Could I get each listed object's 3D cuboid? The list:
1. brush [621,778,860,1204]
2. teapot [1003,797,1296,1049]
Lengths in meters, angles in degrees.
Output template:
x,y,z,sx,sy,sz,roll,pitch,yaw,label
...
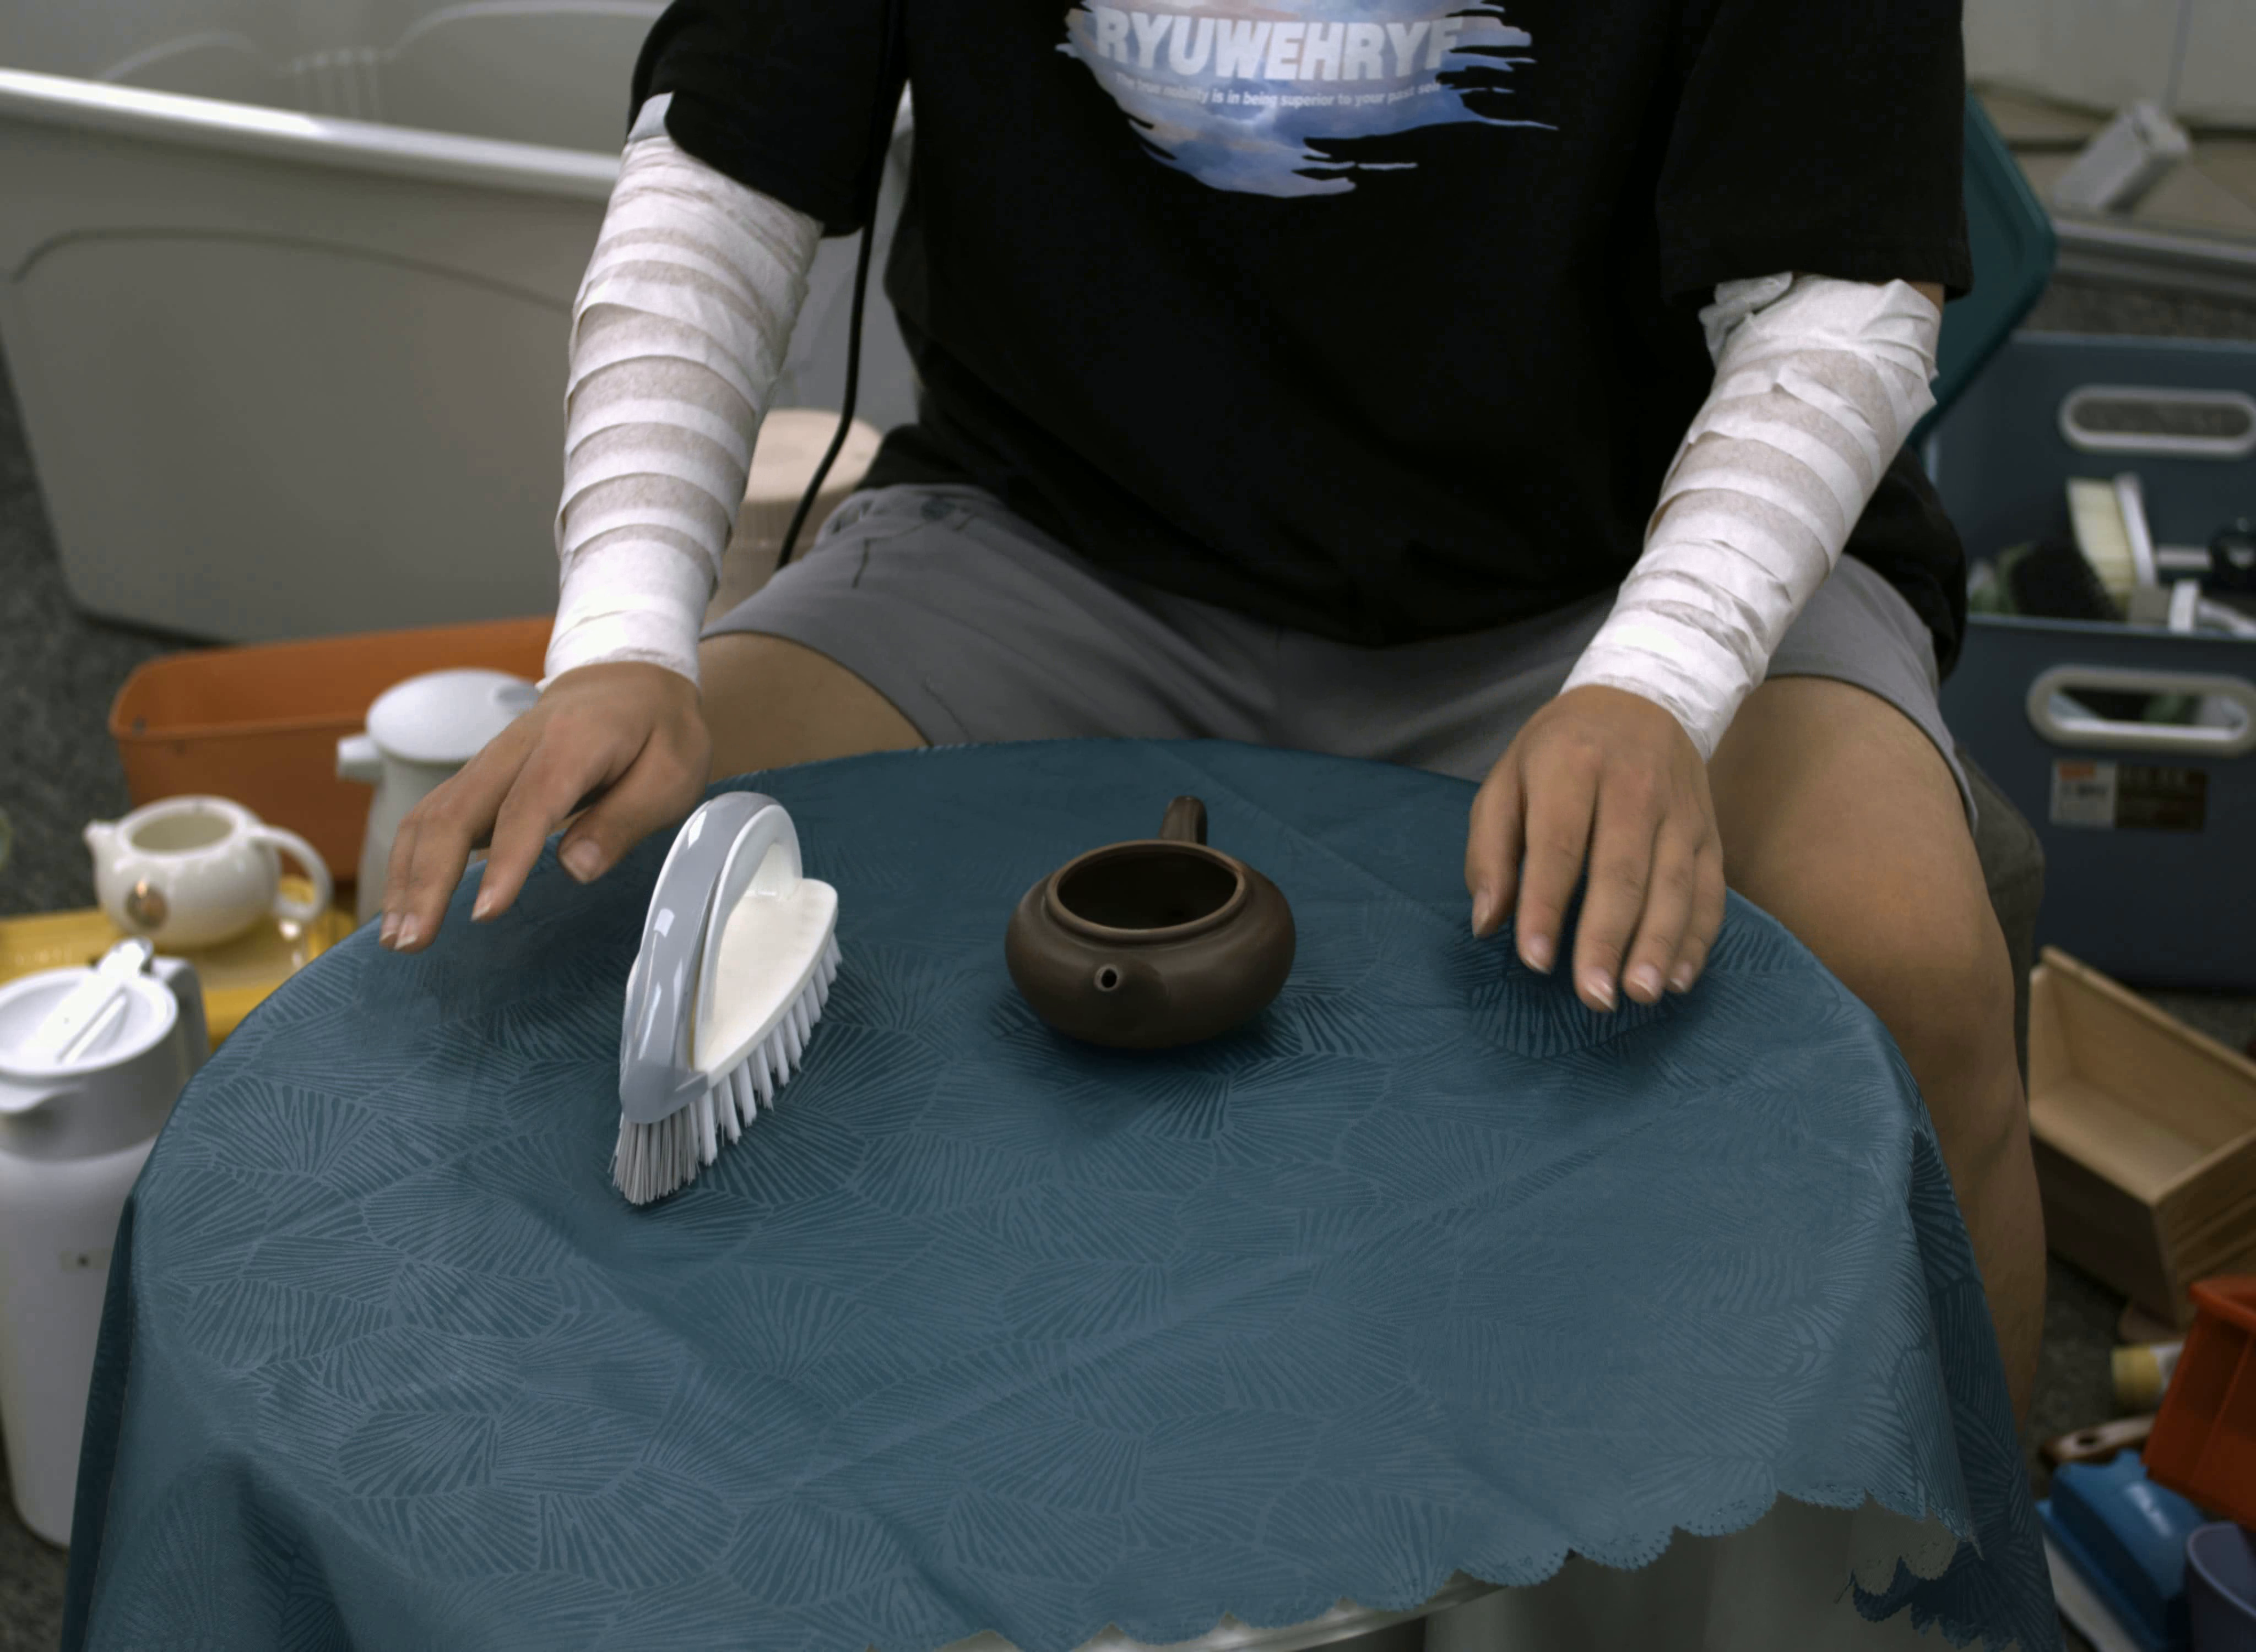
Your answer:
x,y,z,sx,sy,sz,roll,pitch,yaw,label
-0.142,0.048,1.919,0.061,0.093,0.178,0,29,14,brush
0.008,0.038,1.965,0.102,0.053,0.156,1,27,5,teapot
